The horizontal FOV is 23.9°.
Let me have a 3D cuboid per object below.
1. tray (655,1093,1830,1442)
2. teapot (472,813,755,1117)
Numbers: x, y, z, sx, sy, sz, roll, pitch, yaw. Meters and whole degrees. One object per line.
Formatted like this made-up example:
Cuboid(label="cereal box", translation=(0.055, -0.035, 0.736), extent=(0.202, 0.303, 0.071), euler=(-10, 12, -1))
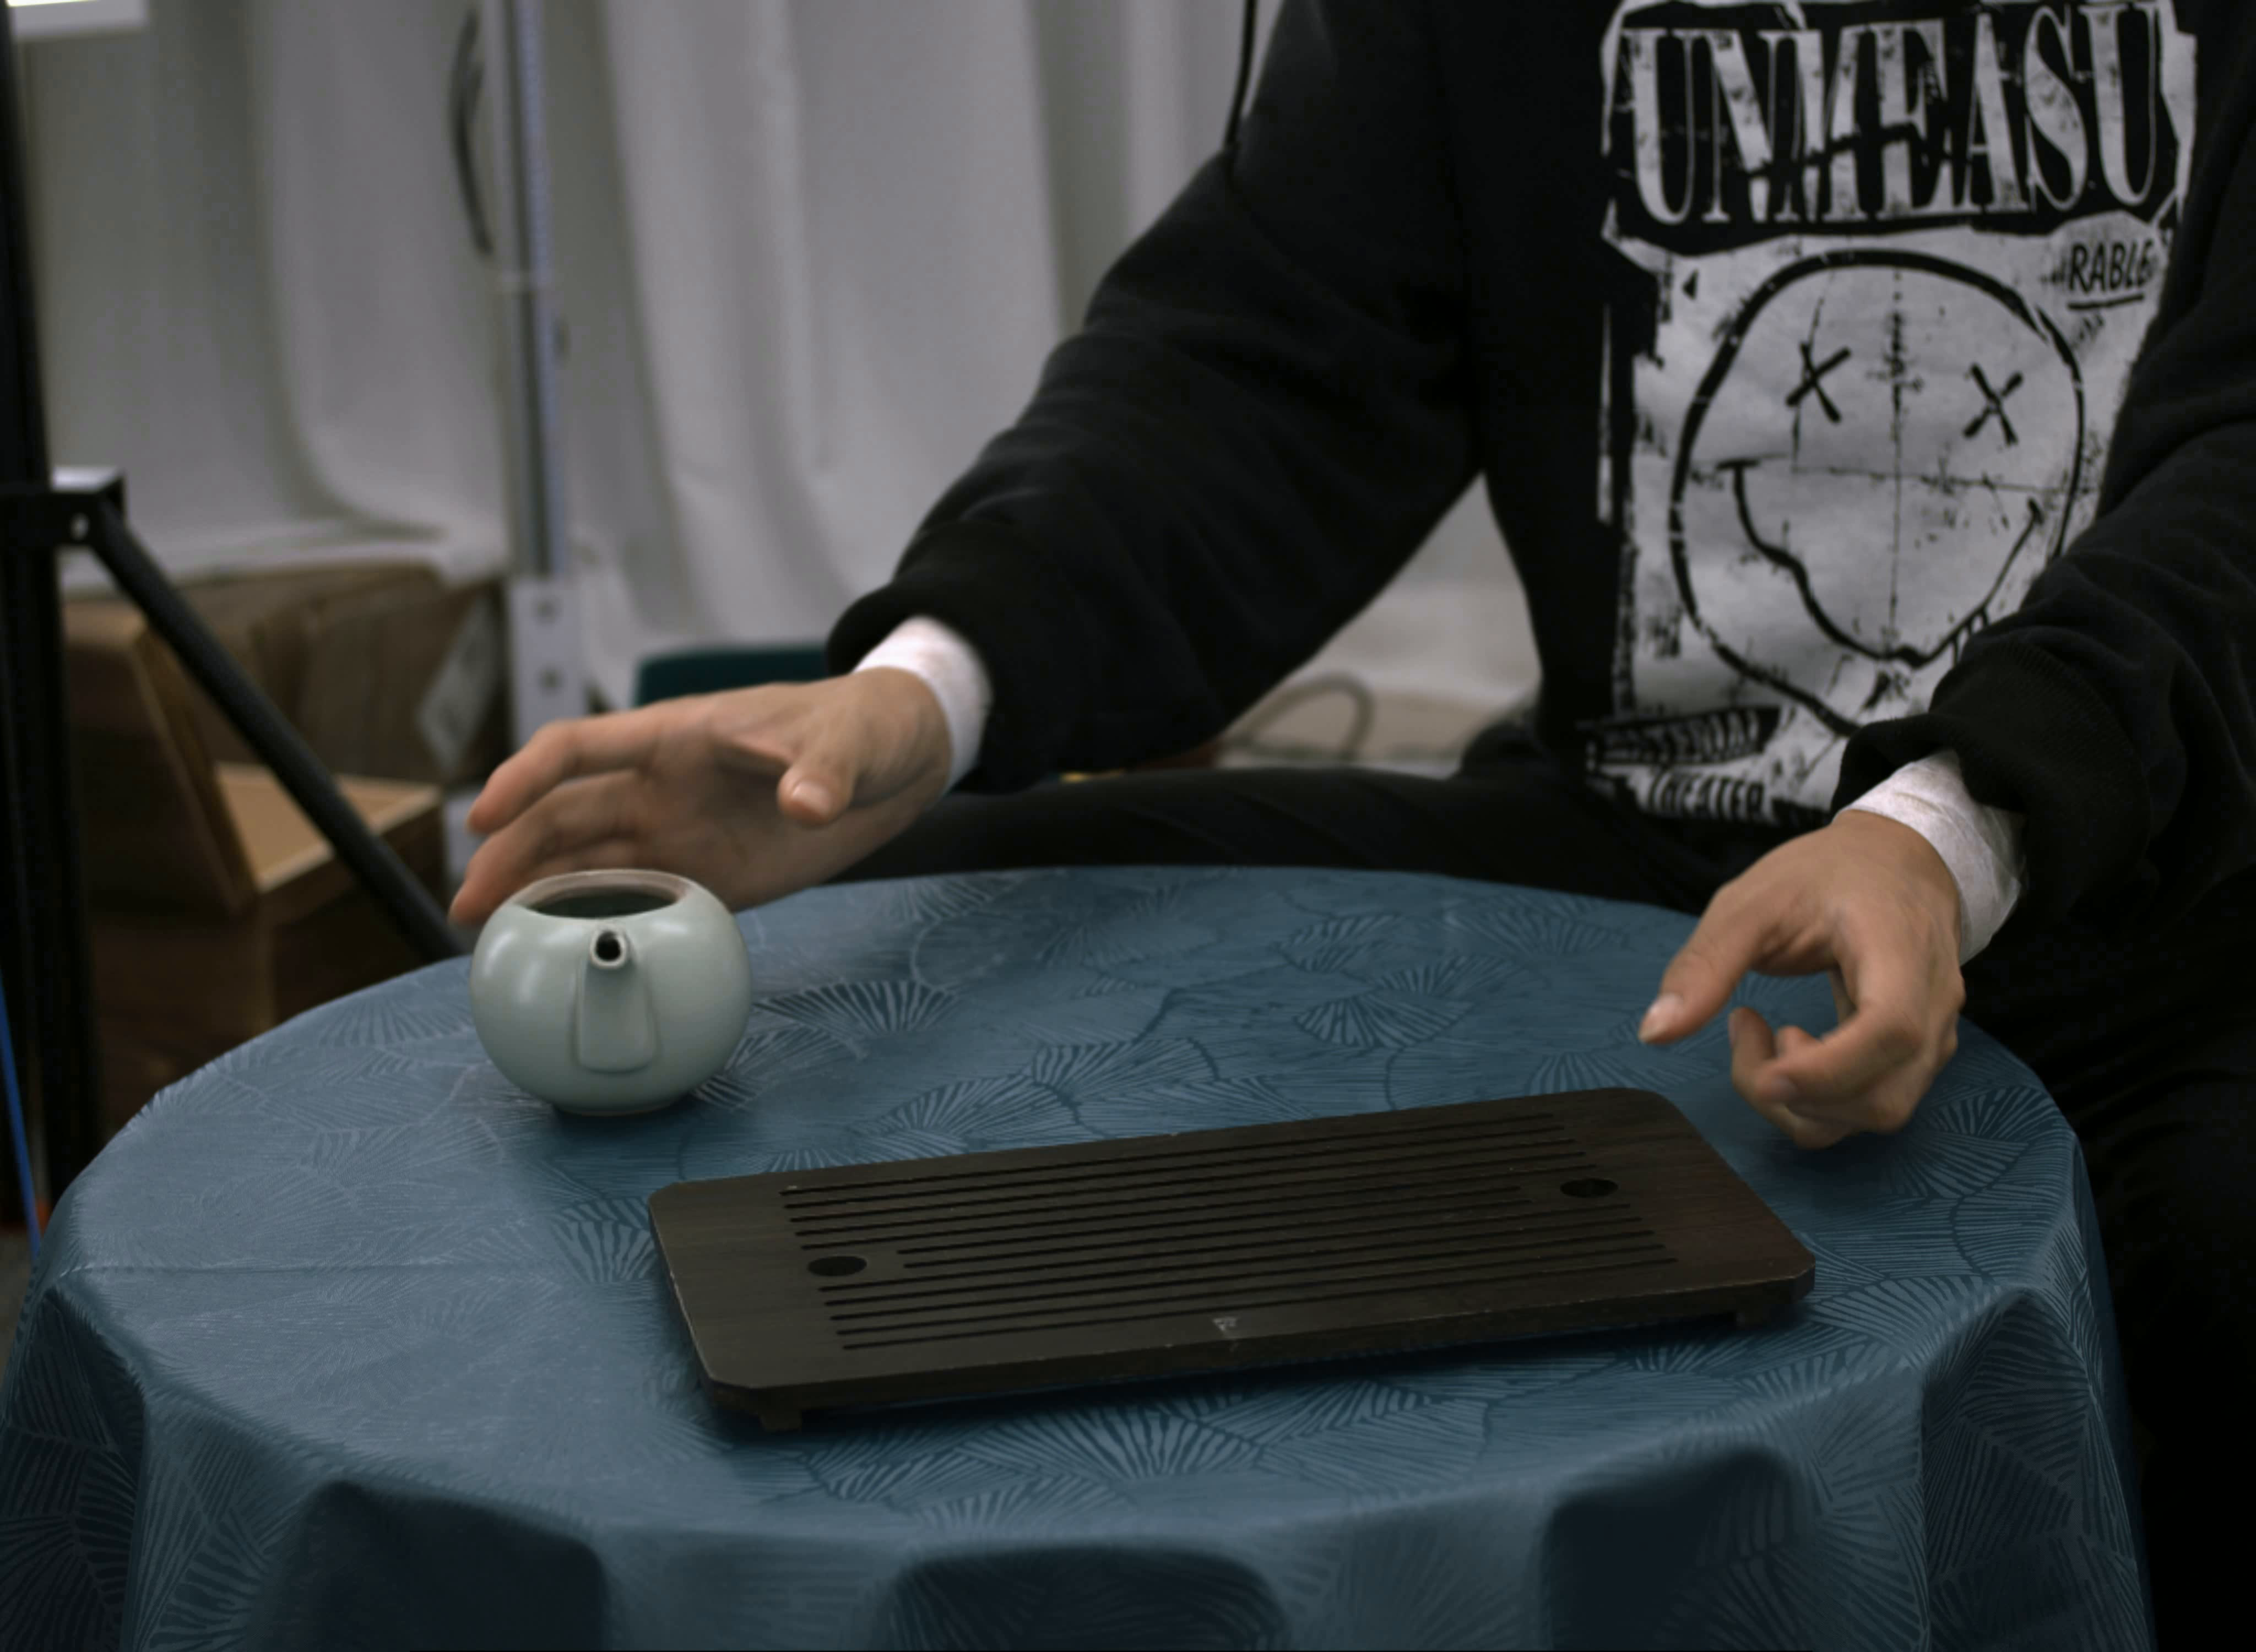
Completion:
Cuboid(label="tray", translation=(0.028, 0.121, 1.471), extent=(0.302, 0.018, 0.172), euler=(-5, 16, -8))
Cuboid(label="teapot", translation=(-0.160, 0.049, 1.657), extent=(0.088, 0.074, 0.145), euler=(-3, 17, -3))
